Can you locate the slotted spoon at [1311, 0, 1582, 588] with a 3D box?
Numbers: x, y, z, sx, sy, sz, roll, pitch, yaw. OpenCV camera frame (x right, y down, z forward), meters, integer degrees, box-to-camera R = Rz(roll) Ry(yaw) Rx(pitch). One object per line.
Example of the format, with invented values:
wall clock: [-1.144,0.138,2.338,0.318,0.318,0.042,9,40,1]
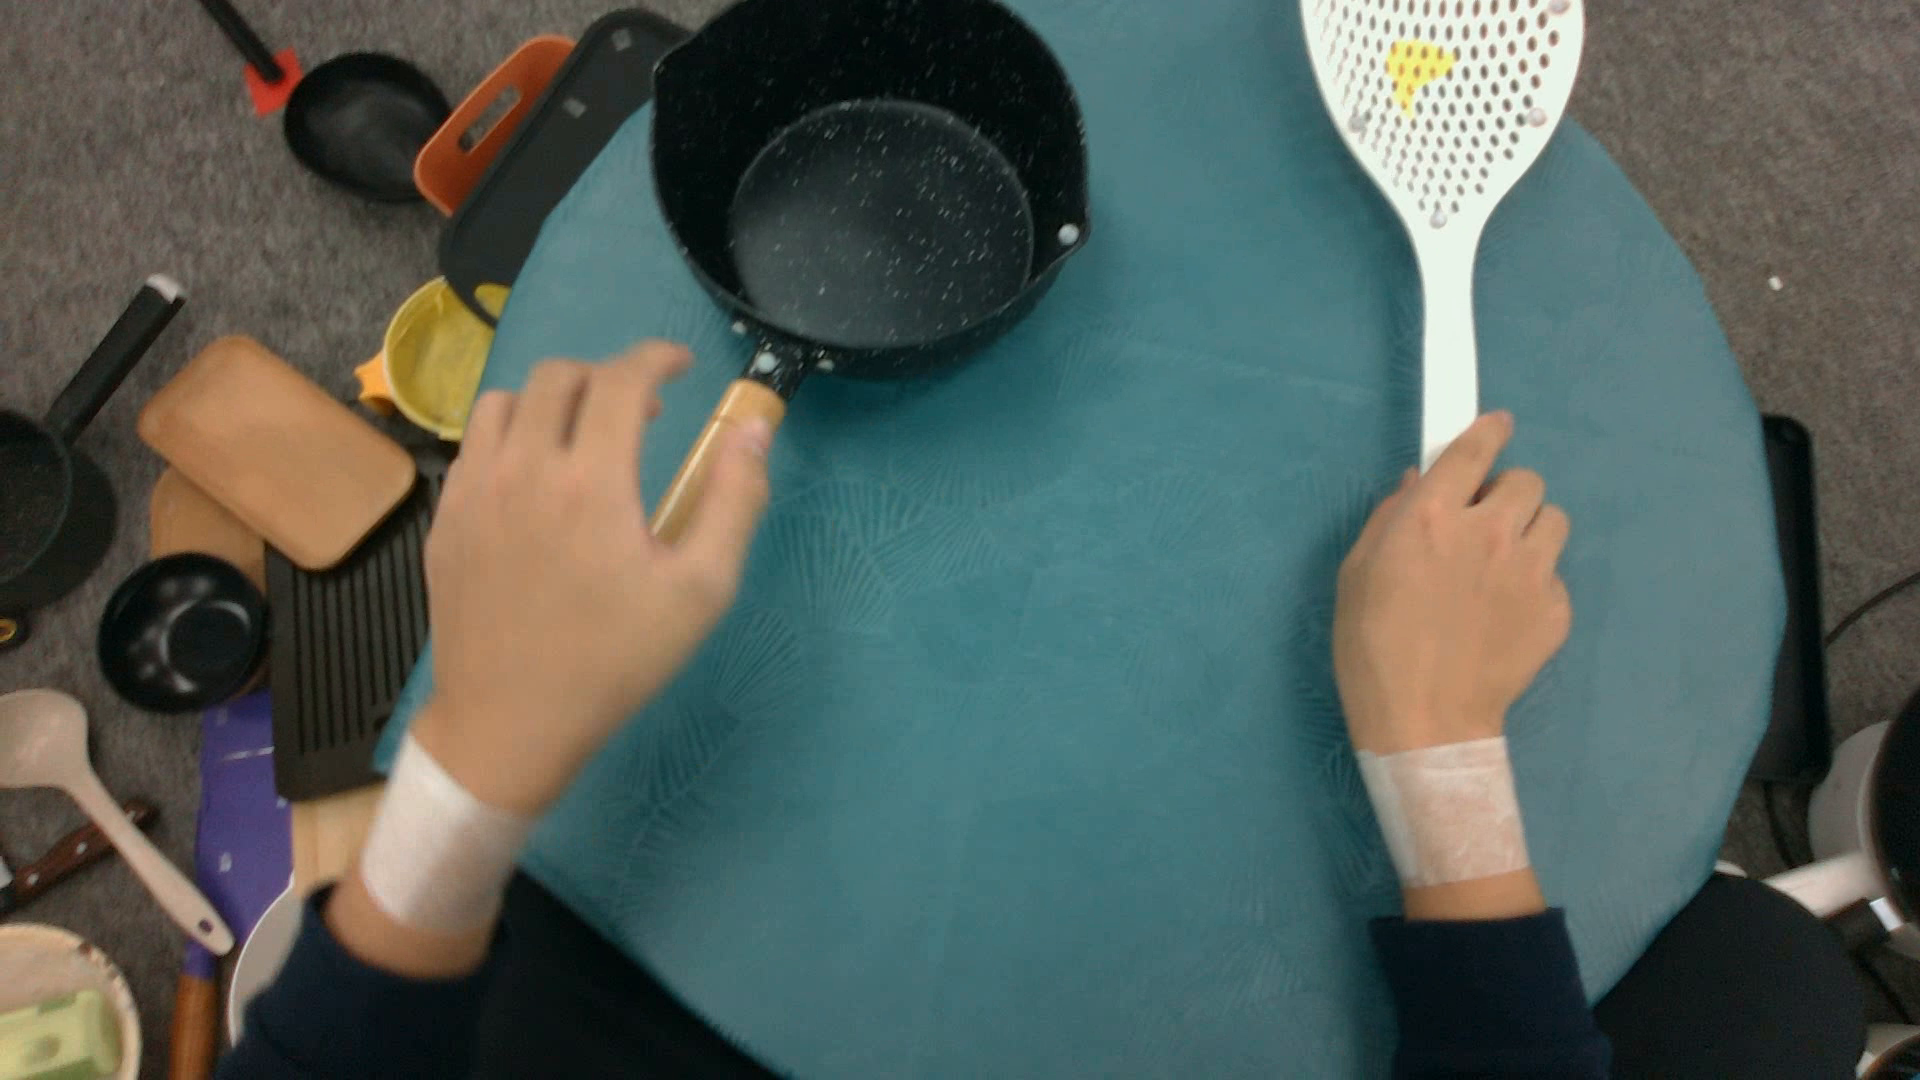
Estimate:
slotted spoon: [0.223,-0.152,0.638,0.137,0.050,0.349,5,72,-7]

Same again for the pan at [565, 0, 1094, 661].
pan: [-0.068,-0.097,0.591,0.207,0.108,0.343,22,75,4]
